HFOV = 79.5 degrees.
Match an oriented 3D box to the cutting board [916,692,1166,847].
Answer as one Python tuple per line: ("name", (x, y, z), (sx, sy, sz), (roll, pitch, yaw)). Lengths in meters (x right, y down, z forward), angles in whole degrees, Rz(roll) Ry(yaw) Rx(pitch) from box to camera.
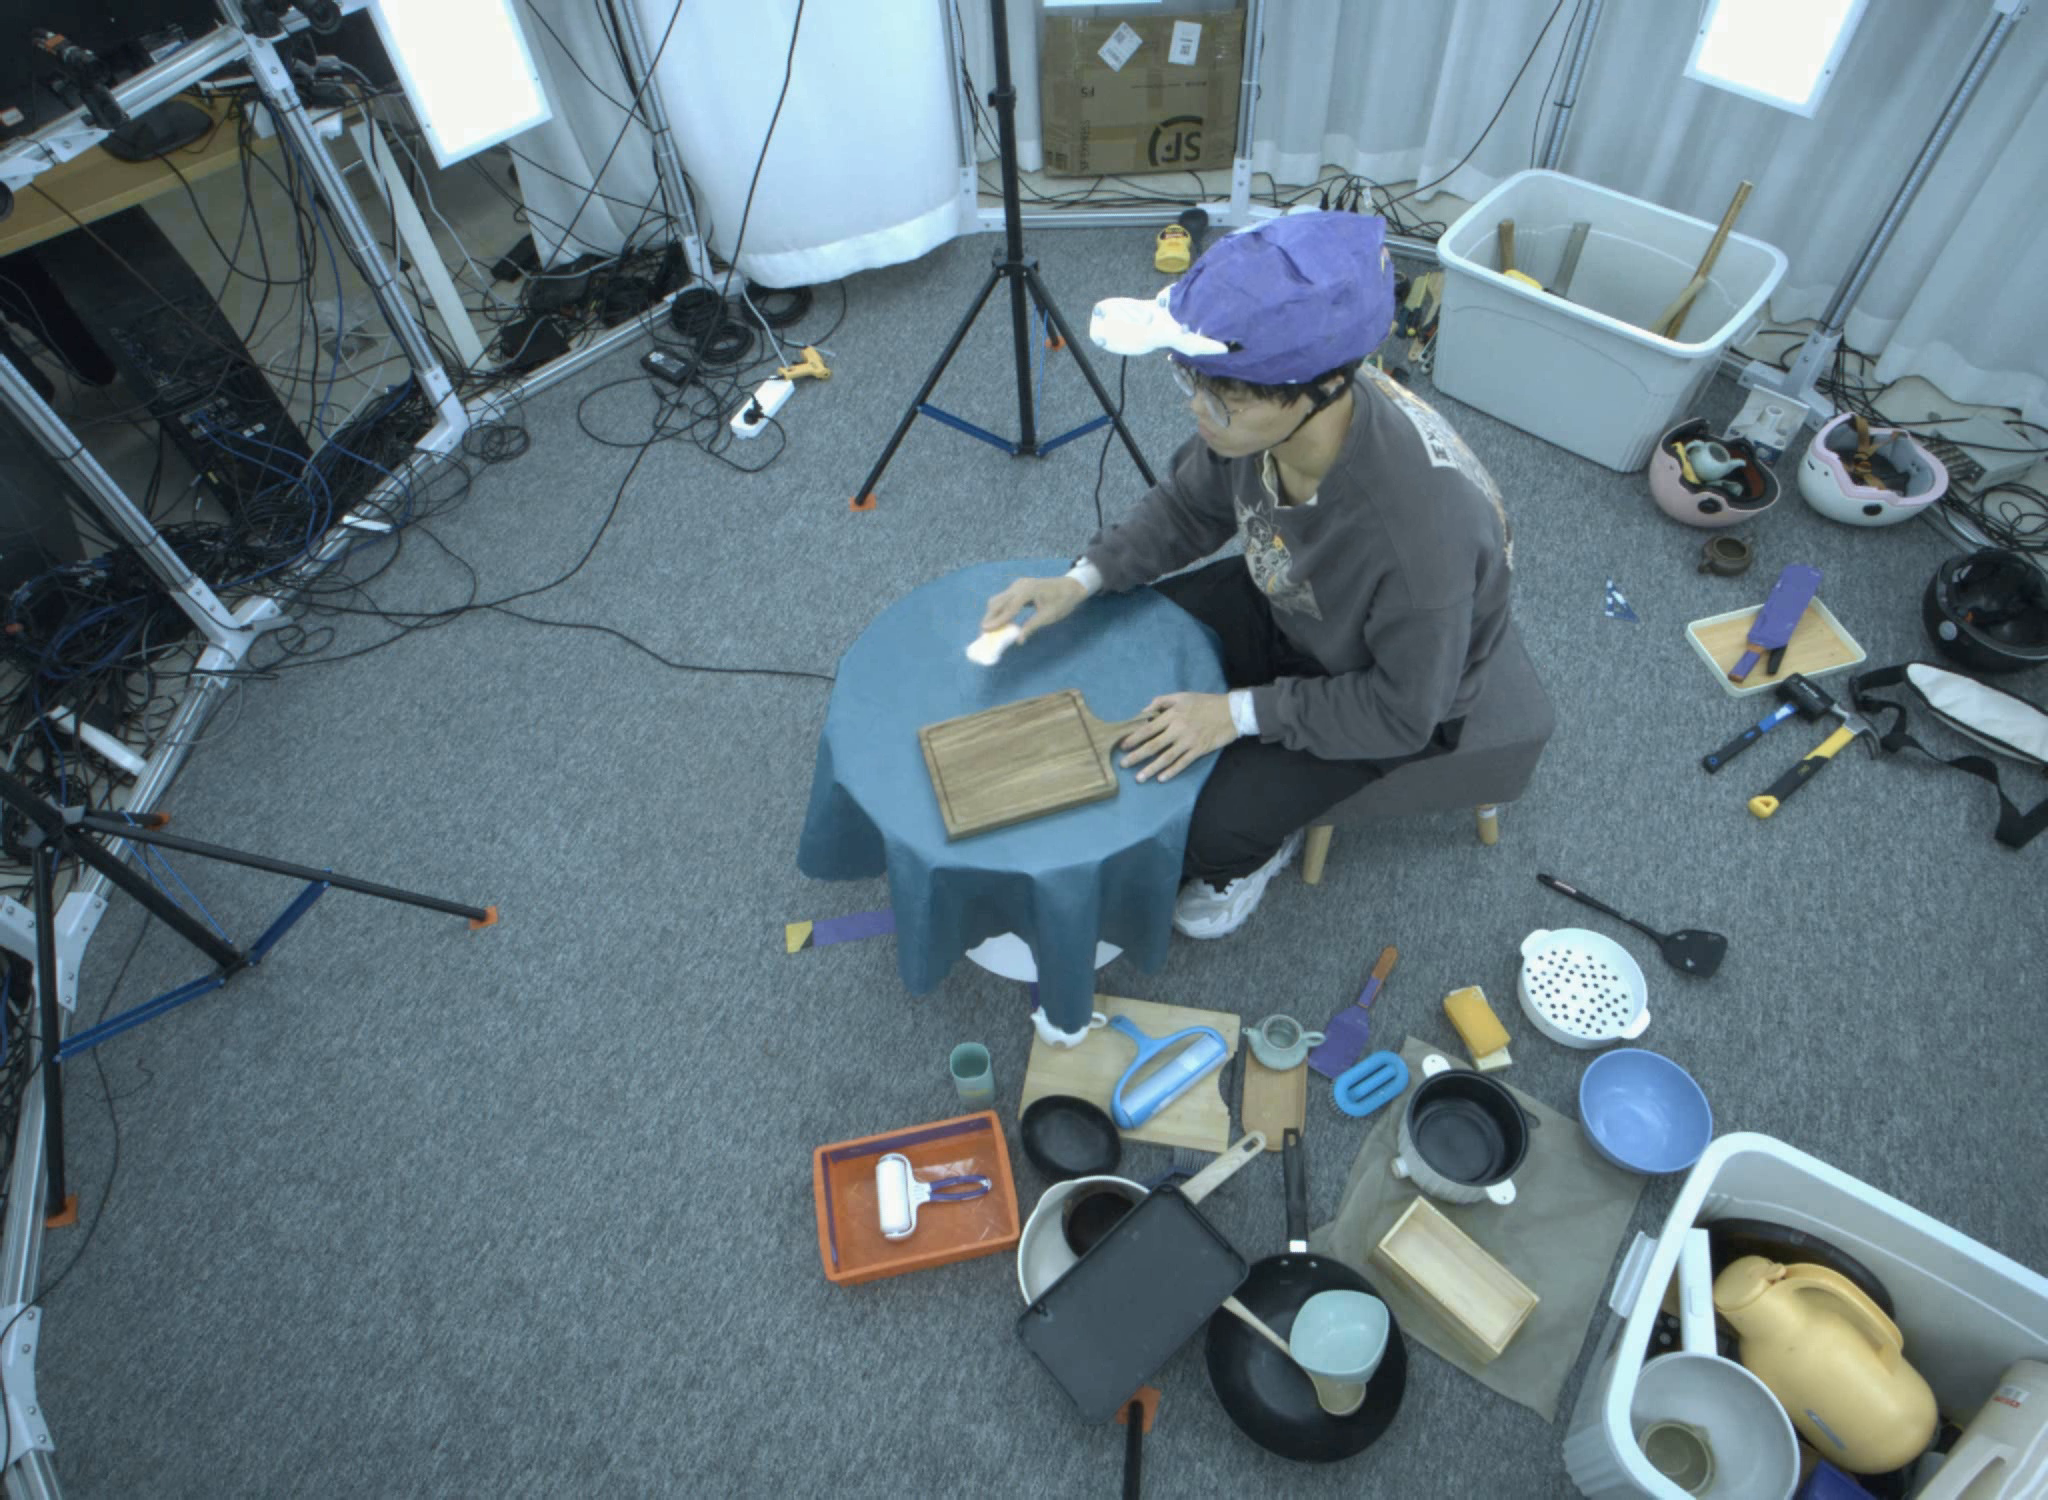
("cutting board", (0.036, 0.012, 1.762), (0.354, 0.023, 0.198), (-14, 55, -8))

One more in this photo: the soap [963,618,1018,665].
("soap", (-0.051, -0.162, 1.831), (0.049, 0.031, 0.095), (27, 55, 24))
